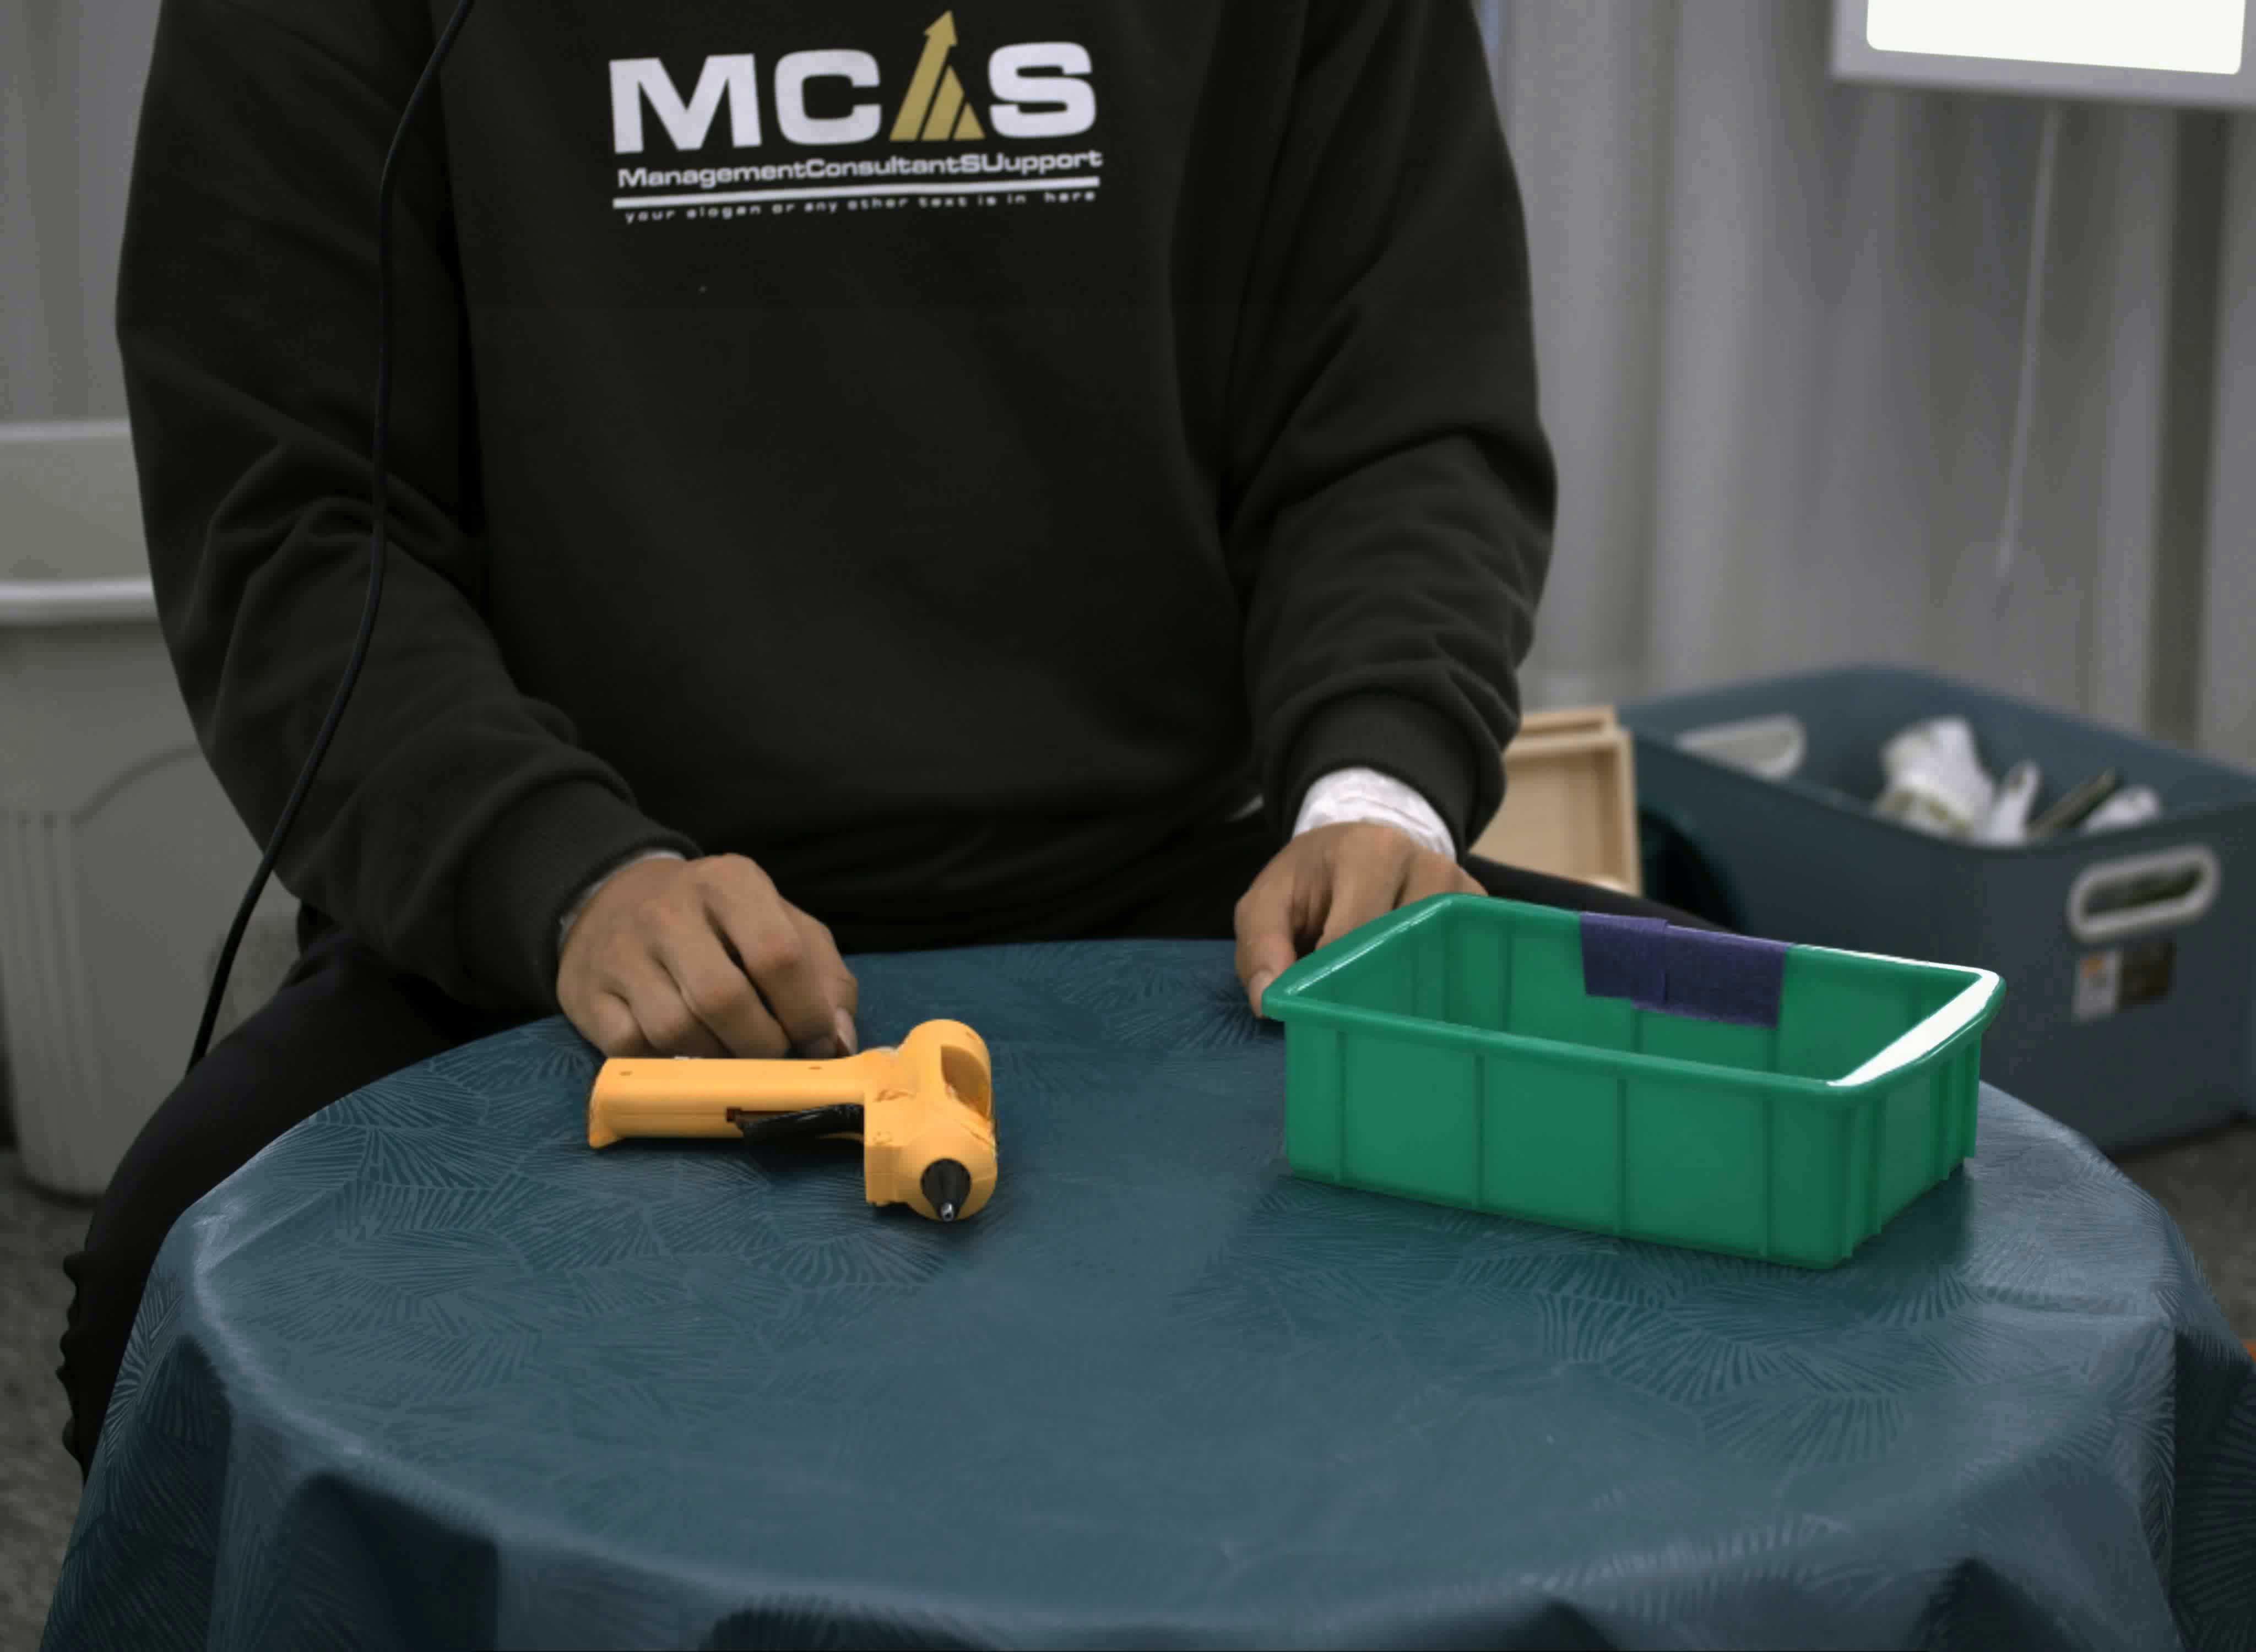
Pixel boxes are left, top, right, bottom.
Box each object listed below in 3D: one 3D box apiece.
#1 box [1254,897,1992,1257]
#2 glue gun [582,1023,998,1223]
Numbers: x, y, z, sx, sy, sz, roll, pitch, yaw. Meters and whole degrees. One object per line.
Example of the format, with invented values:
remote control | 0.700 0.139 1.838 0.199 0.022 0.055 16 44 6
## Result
box | 0.154 0.077 1.643 0.208 0.066 0.139 6 15 26
glue gun | -0.101 0.098 1.628 0.133 0.031 0.150 -3 15 -7
